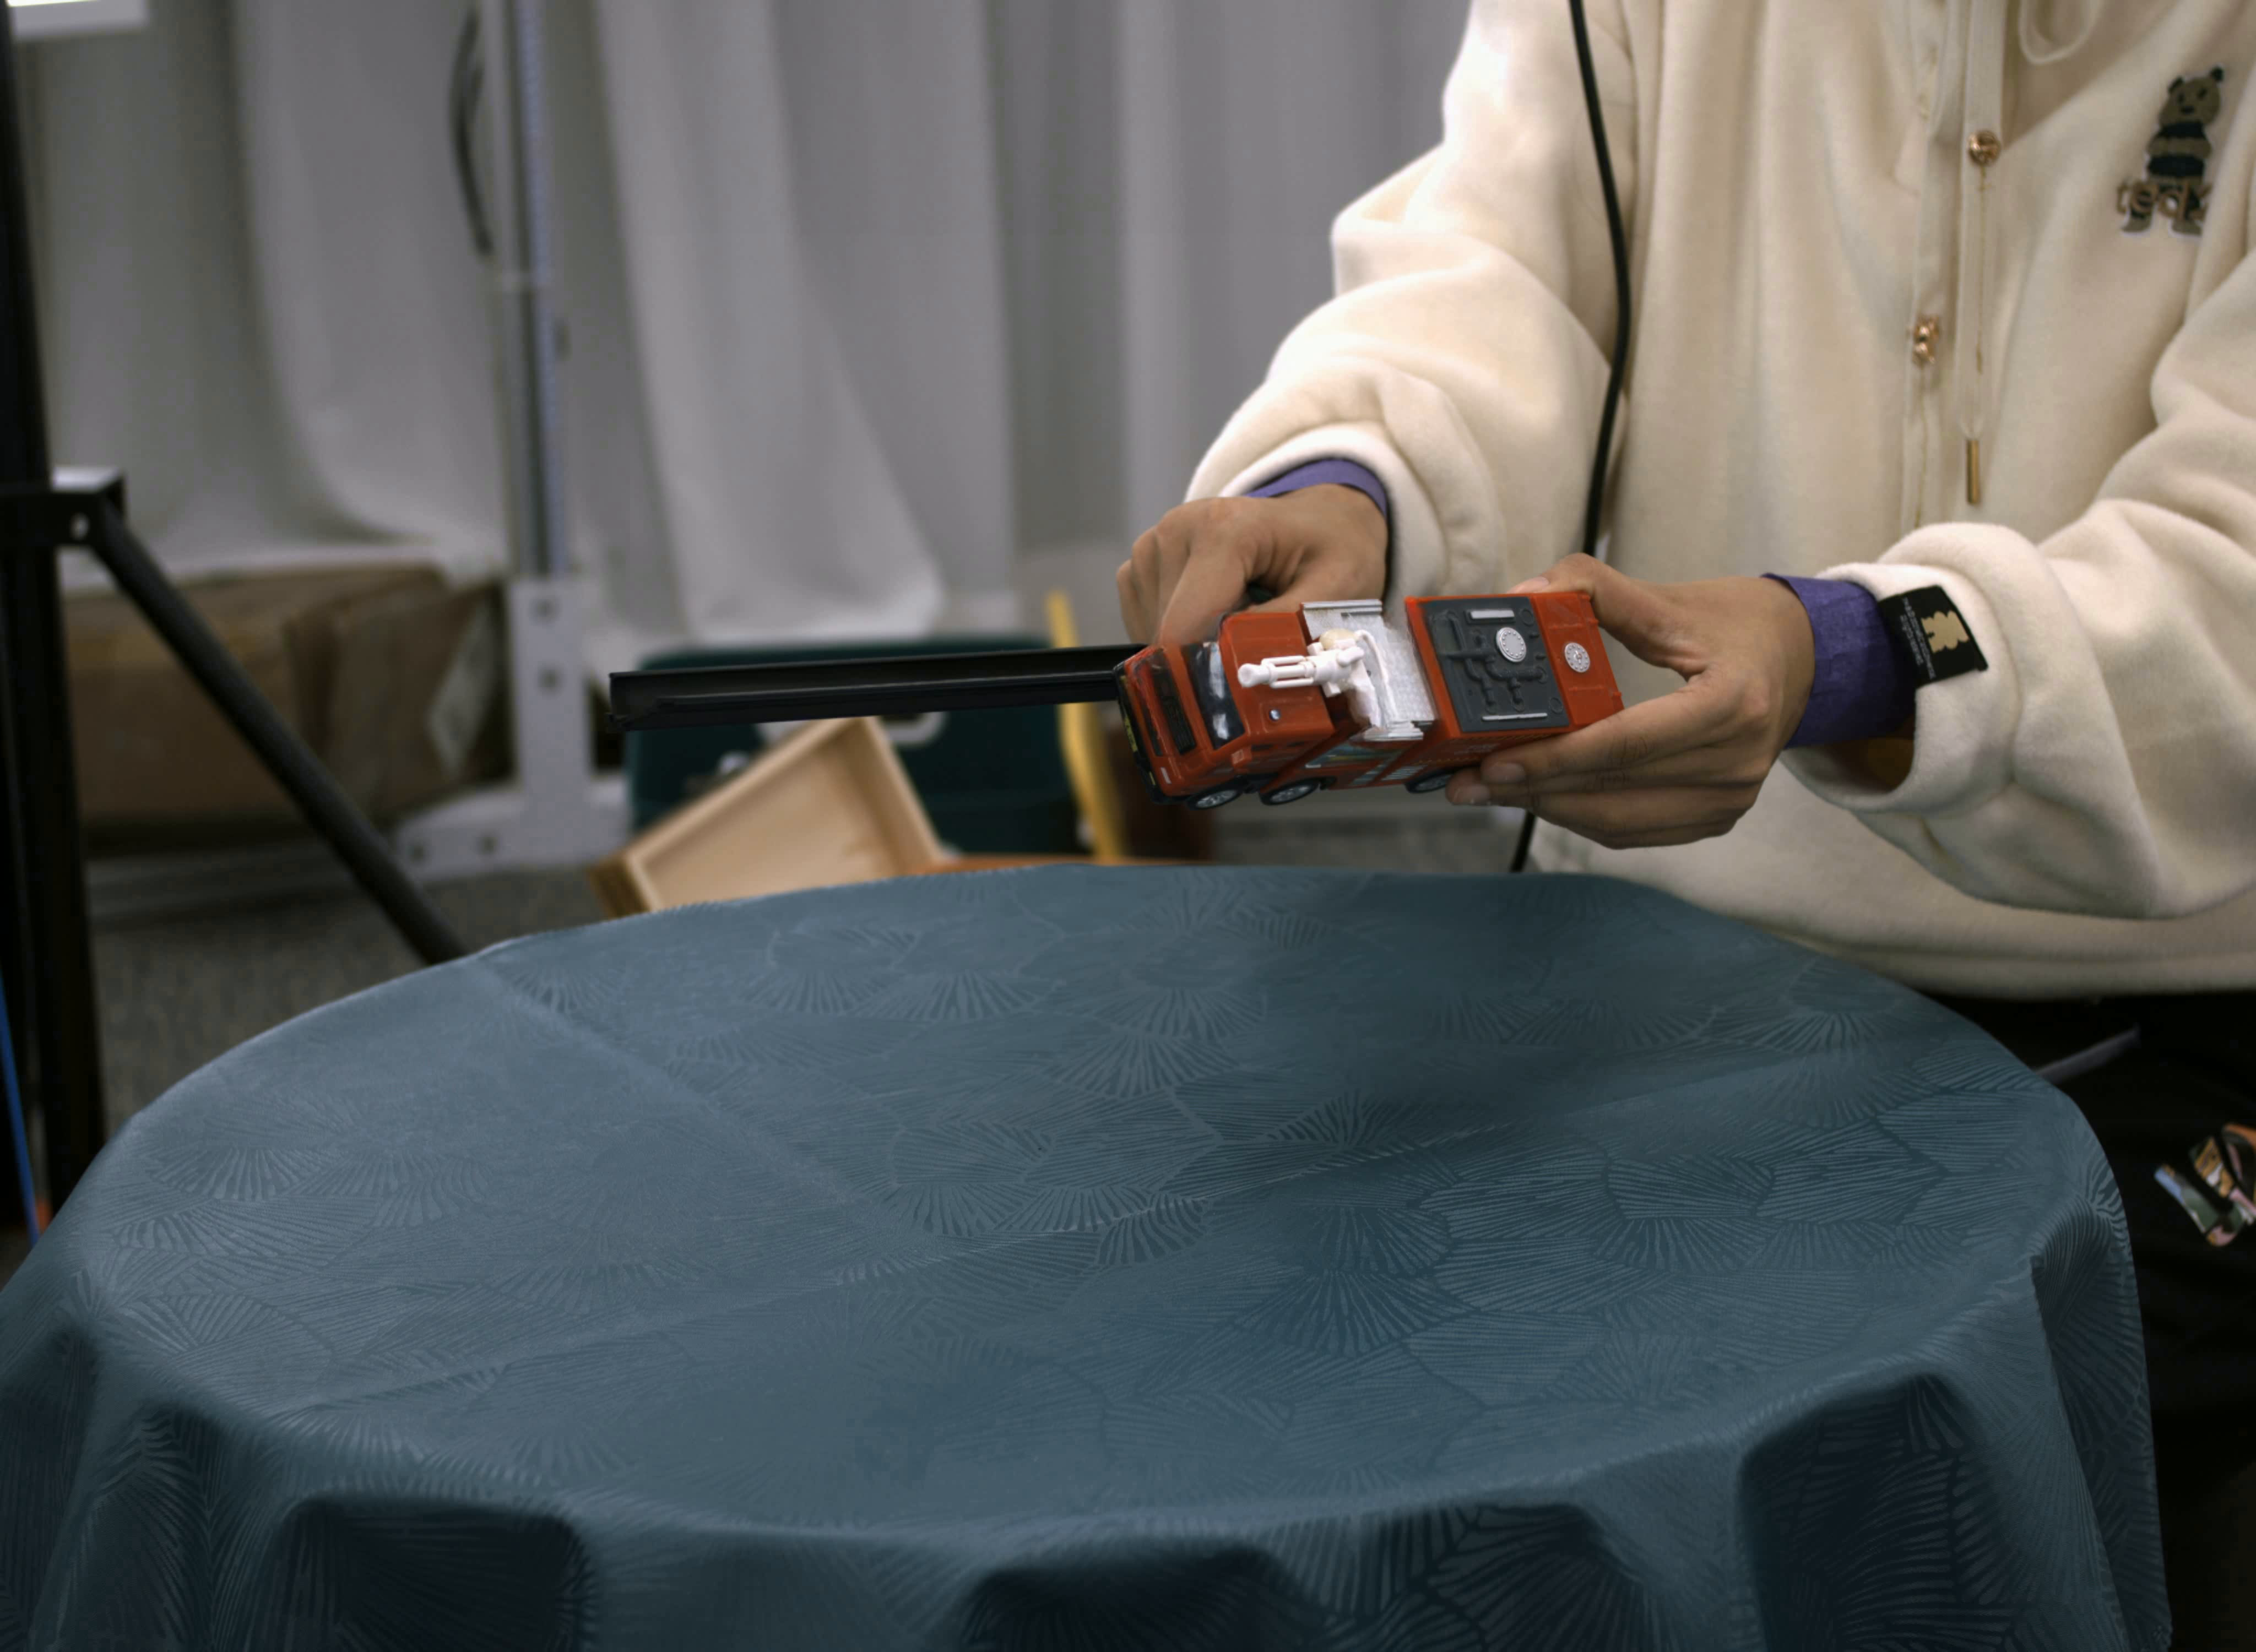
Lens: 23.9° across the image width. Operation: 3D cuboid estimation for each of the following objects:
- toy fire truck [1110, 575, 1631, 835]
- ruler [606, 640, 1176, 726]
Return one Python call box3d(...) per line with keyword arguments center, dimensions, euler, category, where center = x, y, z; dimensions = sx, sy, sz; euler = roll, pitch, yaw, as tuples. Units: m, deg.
box3d(center=(0.073, -0.036, 1.556), dimensions=(0.163, 0.054, 0.071), euler=(-3, -21, -41), category="toy fire truck")
box3d(center=(-0.017, -0.047, 1.545), dimensions=(0.304, 0.017, 0.040), euler=(-4, -7, -39), category="ruler")
